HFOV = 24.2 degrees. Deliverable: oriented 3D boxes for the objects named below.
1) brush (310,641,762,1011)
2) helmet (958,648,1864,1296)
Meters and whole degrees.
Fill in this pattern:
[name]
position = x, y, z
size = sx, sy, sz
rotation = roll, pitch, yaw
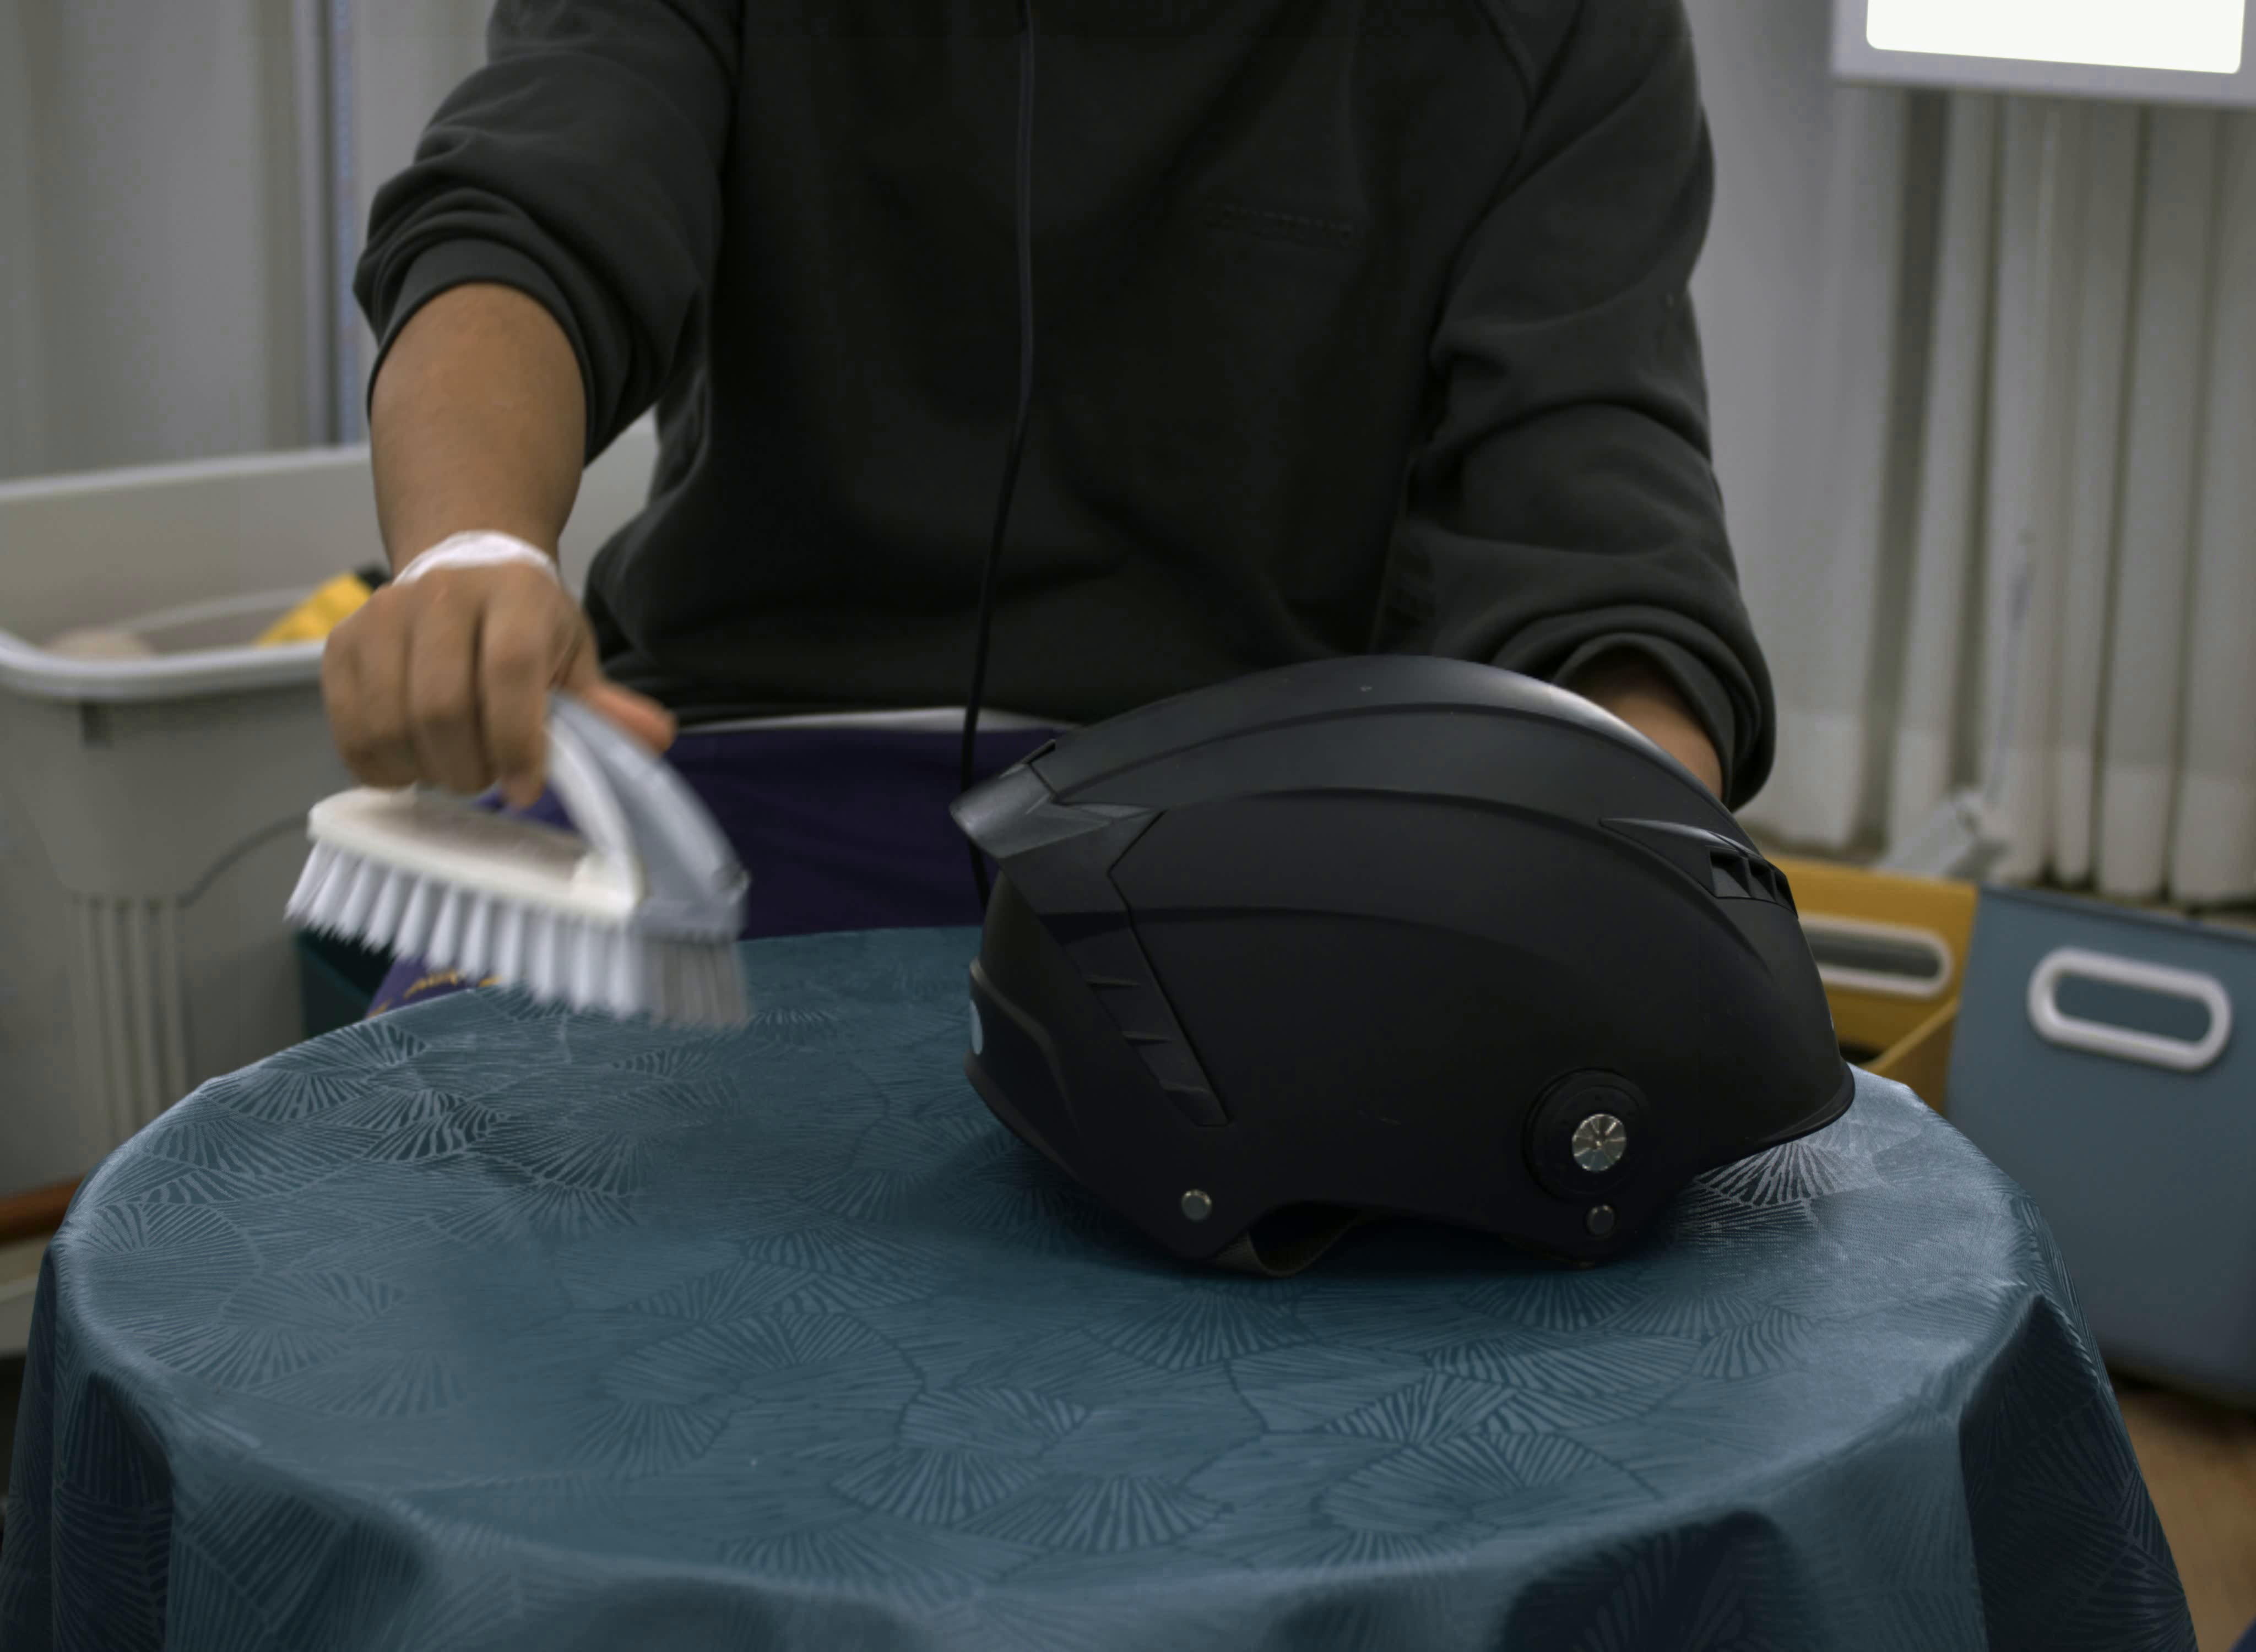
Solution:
[brush]
position = -0.176, -0.004, 1.629
size = 0.173, 0.095, 0.062
rotation = 18, 19, 35
[helmet]
position = 0.084, 0.031, 1.622
size = 0.276, 0.174, 0.244
rotation = -7, 18, -10
